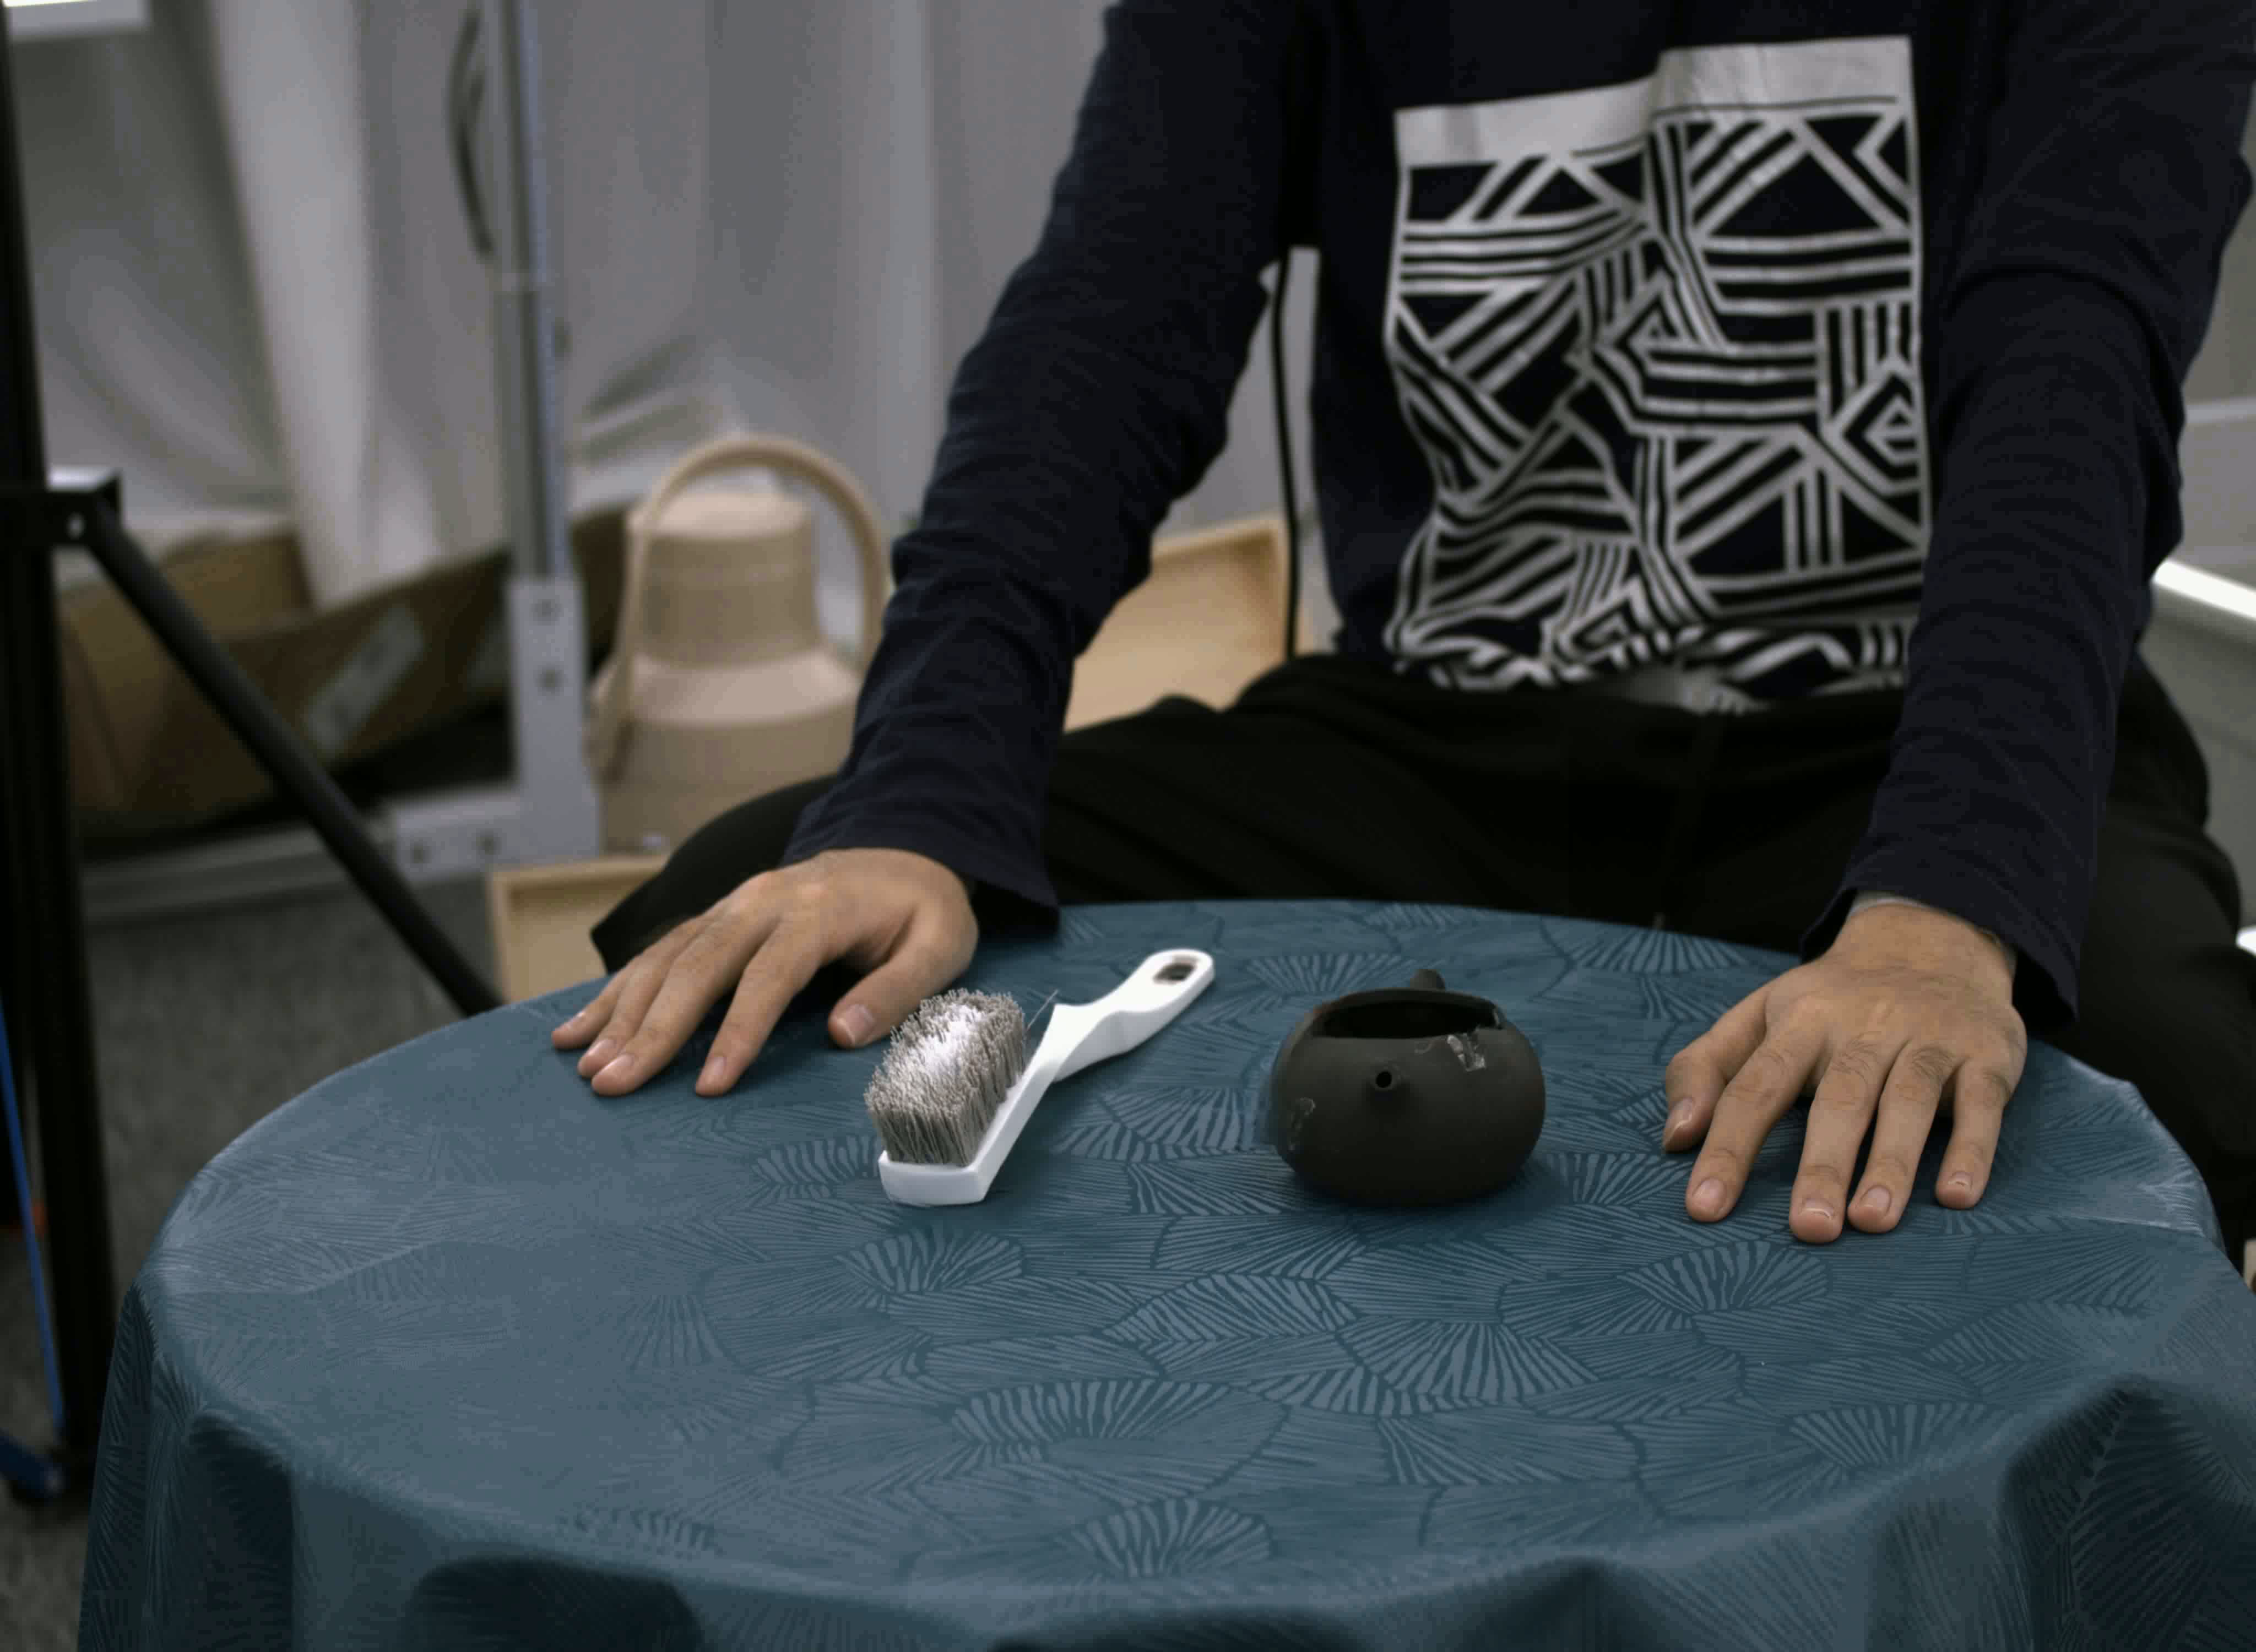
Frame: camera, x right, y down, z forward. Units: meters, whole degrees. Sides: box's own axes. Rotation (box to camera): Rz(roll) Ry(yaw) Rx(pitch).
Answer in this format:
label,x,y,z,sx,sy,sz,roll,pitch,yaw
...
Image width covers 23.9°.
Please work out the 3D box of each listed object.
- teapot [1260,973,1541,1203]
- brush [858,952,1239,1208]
label,x,y,z,sx,sy,sz,roll,pitch,yaw
teapot,0.083,0.075,1.570,0.083,0.053,0.113,0,16,12
brush,-0.020,0.059,1.649,0.035,0.050,0.240,0,16,24
